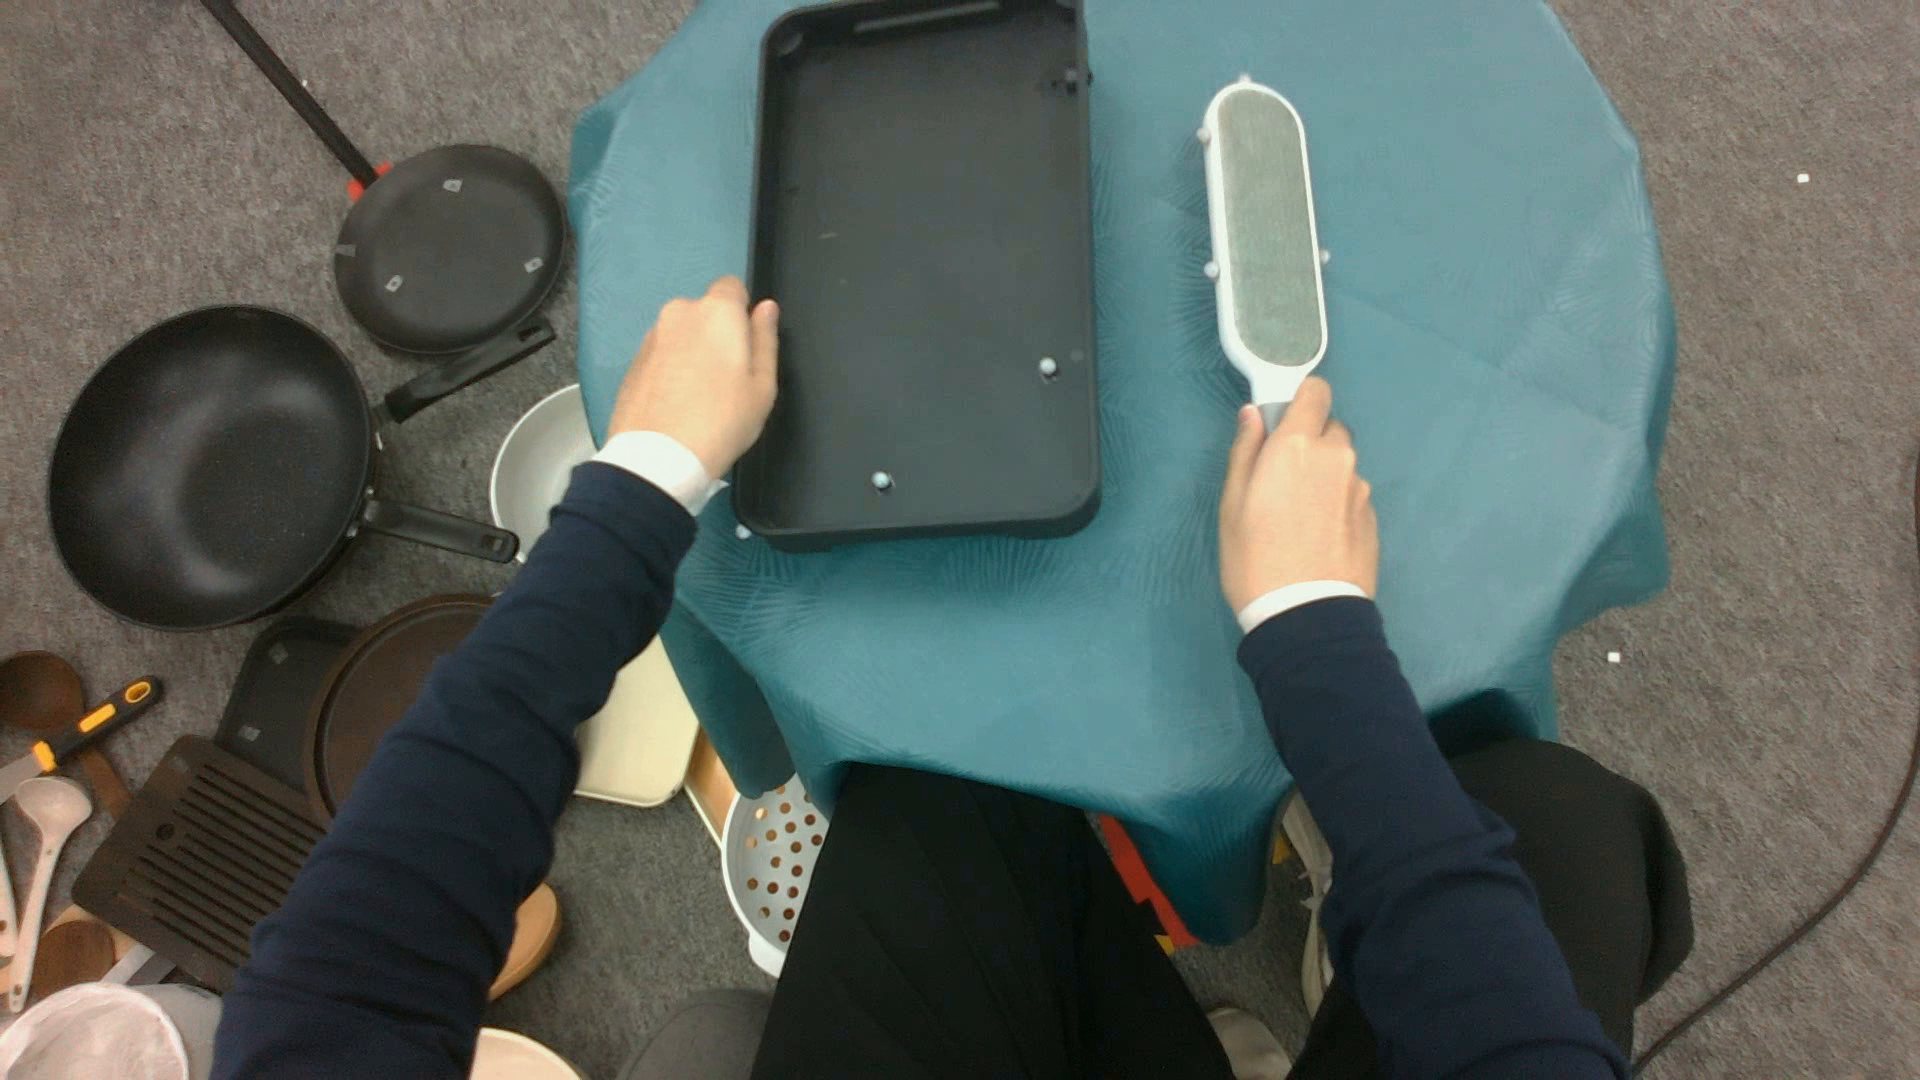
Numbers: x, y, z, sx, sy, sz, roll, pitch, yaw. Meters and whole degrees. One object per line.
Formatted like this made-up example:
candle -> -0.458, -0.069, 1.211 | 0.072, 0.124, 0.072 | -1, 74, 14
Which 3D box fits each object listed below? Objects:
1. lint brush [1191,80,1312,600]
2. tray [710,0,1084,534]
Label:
lint brush -> 0.155, -0.115, 0.719 | 0.060, 0.021, 0.310 | 7, 66, -16
tray -> -0.027, -0.157, 0.725 | 0.184, 0.037, 0.319 | -2, 69, 11
